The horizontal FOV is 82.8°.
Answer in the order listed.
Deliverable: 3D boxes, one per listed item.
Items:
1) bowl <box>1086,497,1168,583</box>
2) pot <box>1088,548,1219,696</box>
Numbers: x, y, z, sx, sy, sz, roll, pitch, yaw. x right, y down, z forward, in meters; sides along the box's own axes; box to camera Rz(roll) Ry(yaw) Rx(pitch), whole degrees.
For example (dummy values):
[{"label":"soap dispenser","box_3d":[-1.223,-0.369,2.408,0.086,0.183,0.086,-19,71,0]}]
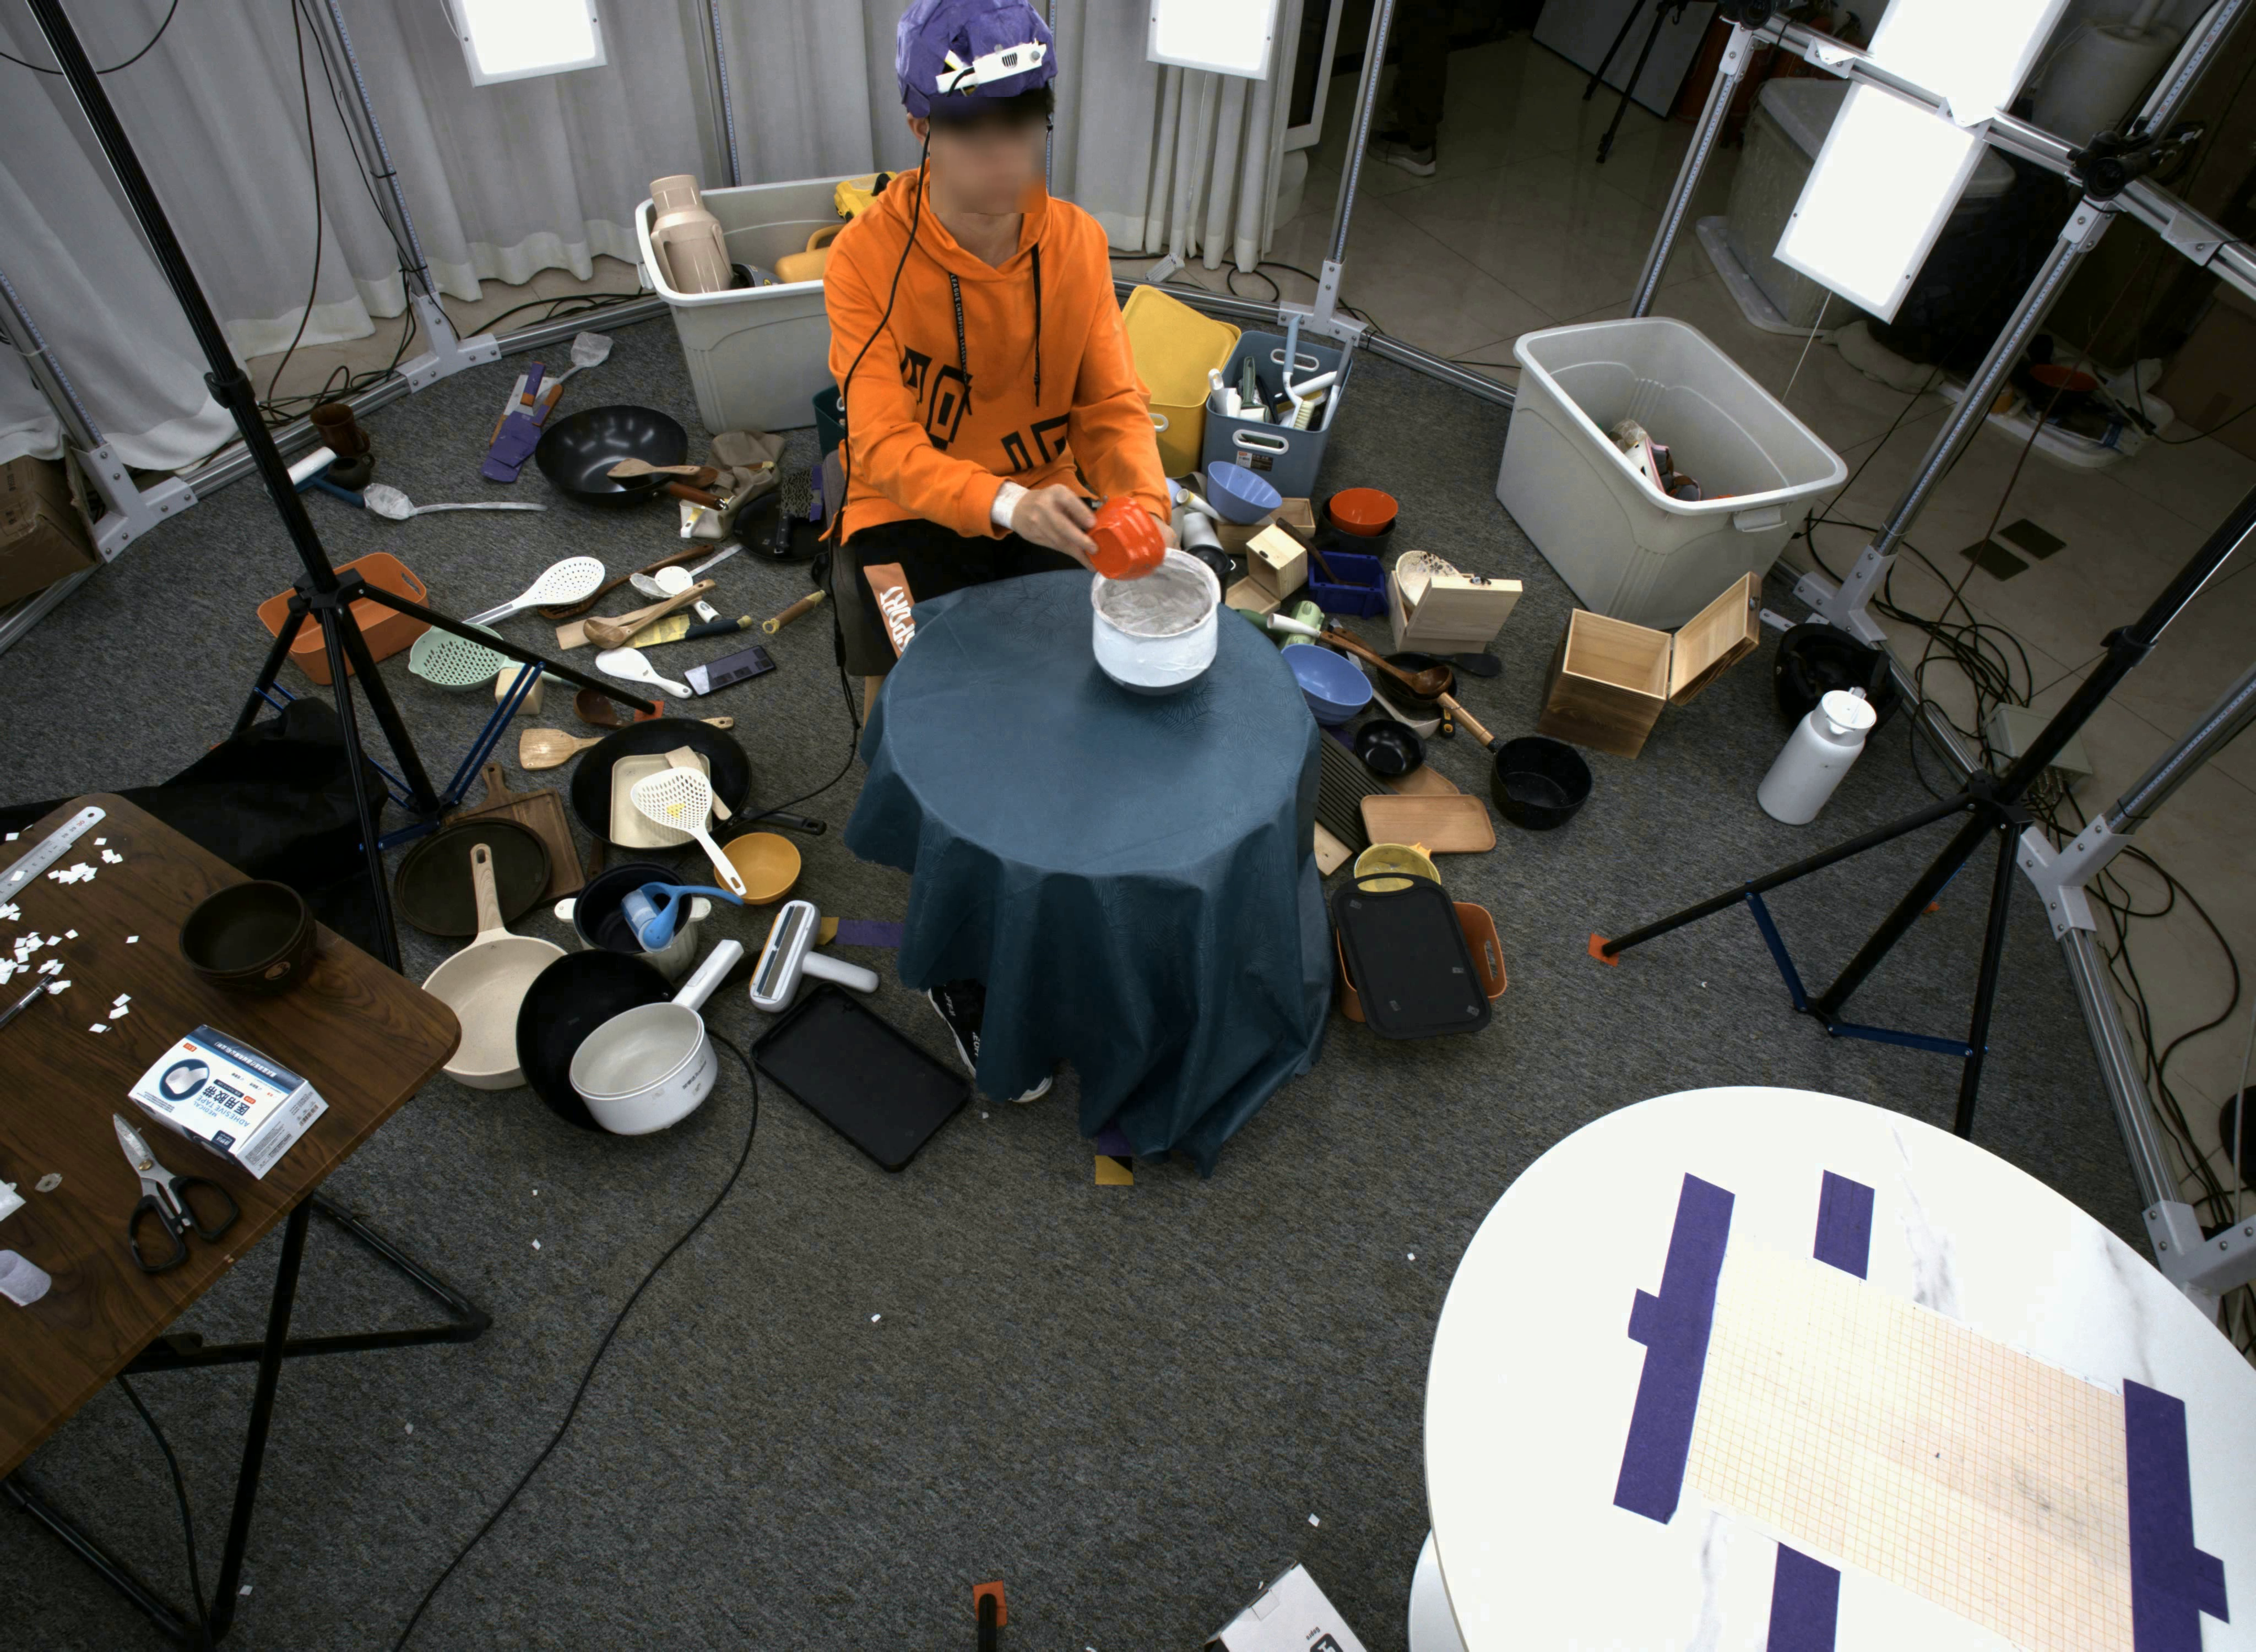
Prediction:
[{"label":"bowl","box_3d":[-0.010,-0.364,1.678,0.120,0.116,0.052,31,46,20]},{"label":"pot","box_3d":[0.033,-0.303,1.808,0.178,0.133,0.239,-4,52,-2]}]
